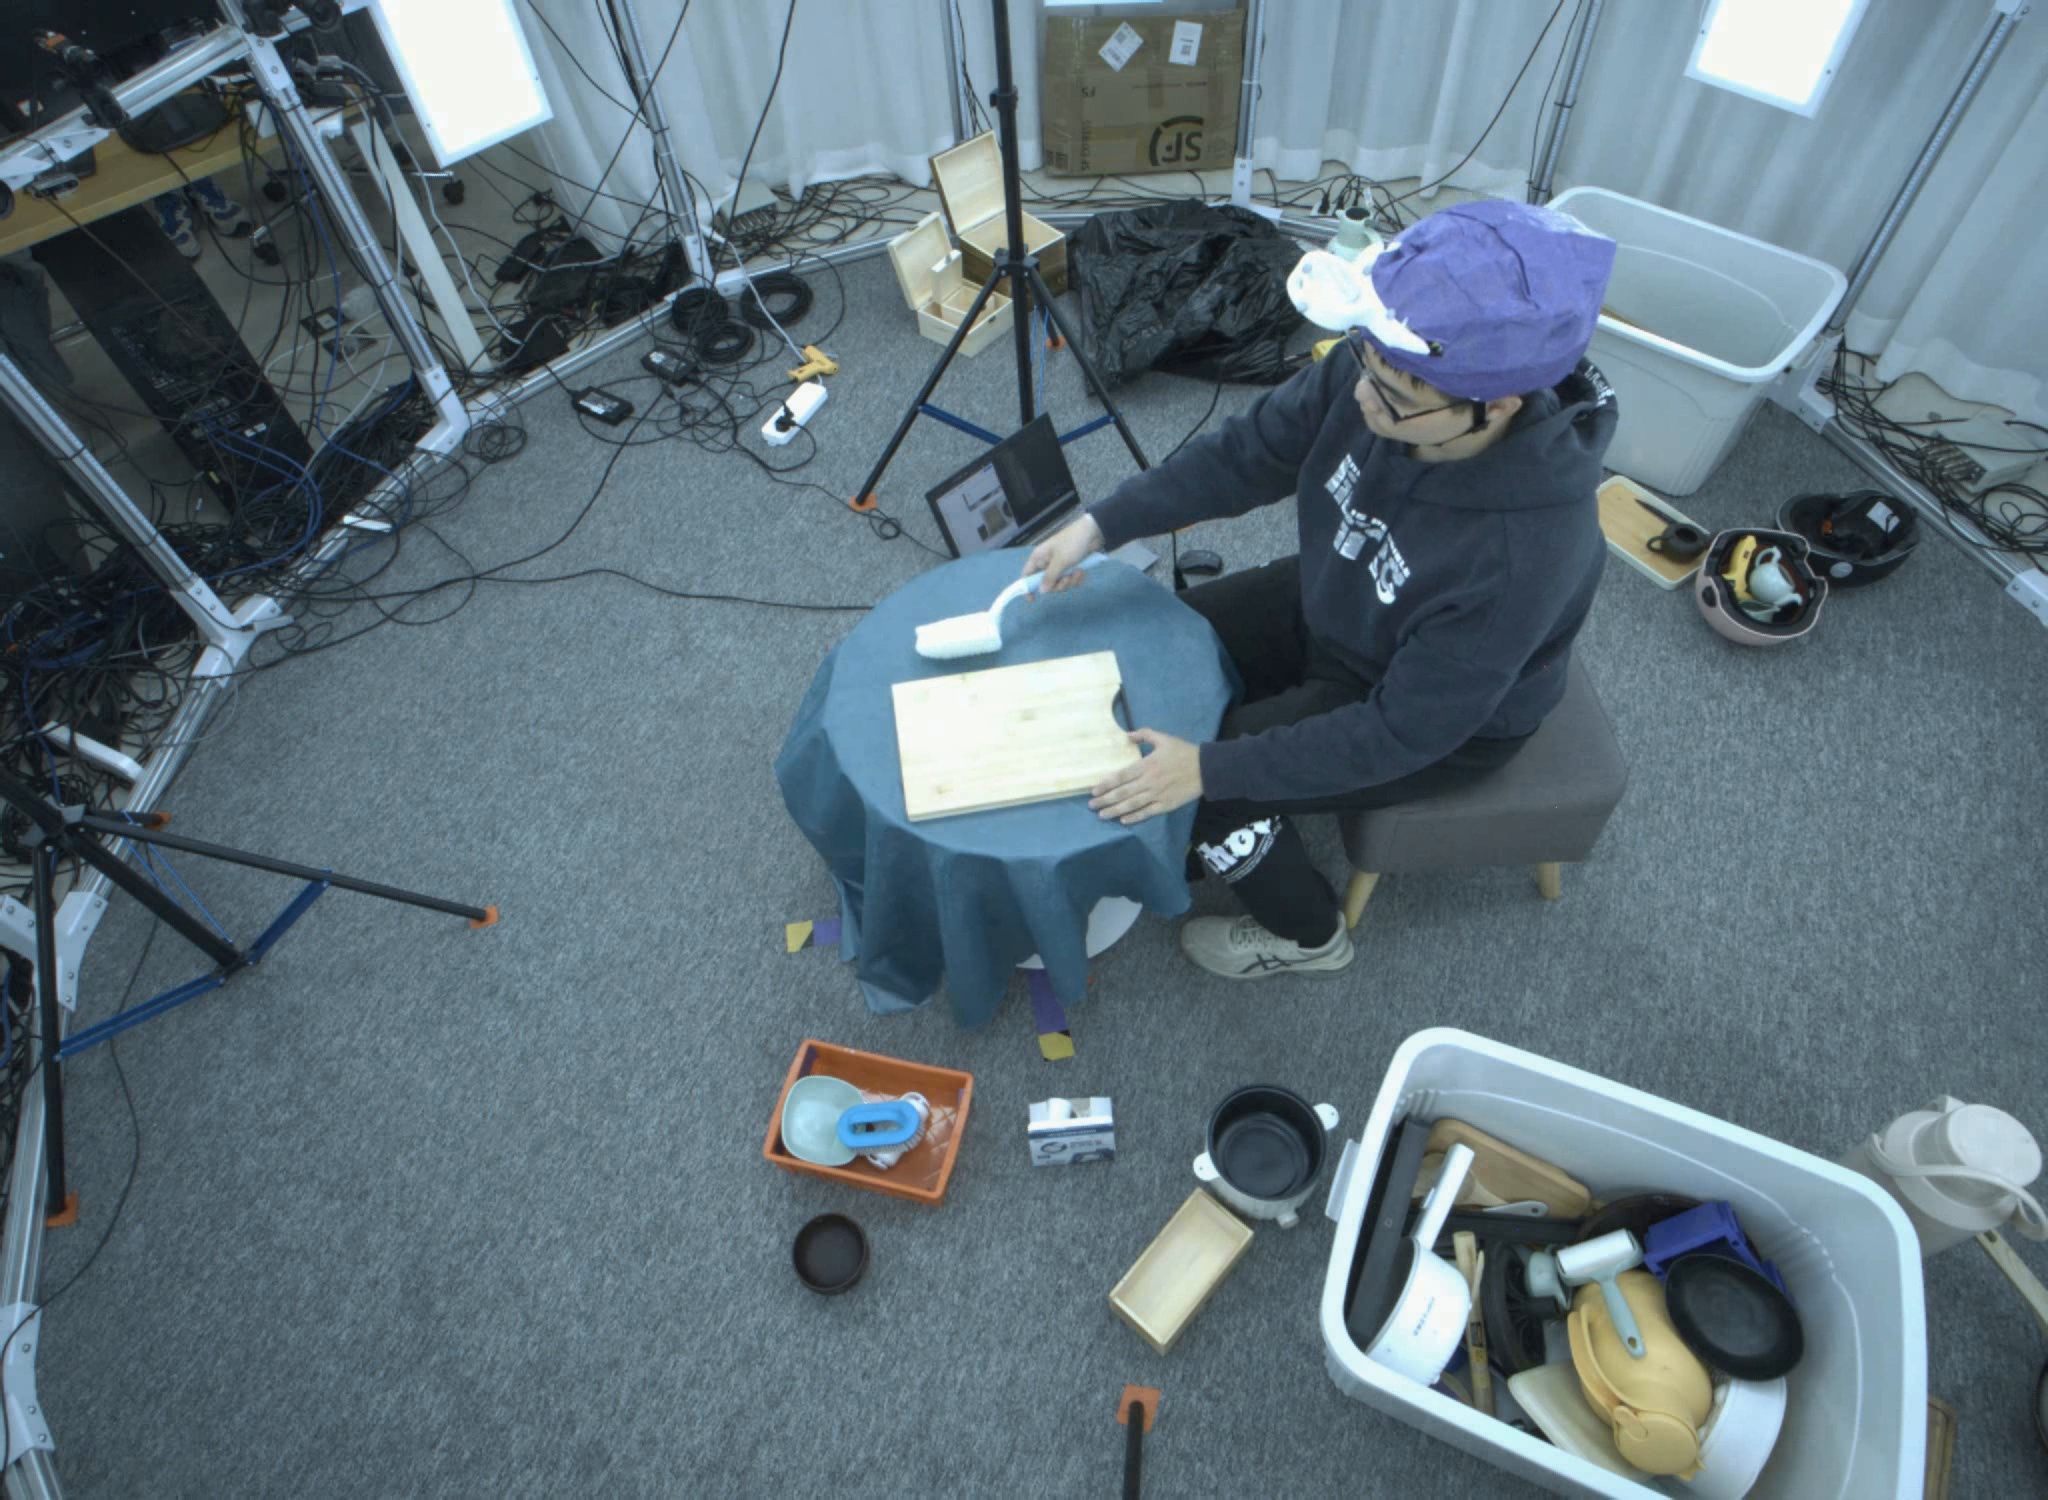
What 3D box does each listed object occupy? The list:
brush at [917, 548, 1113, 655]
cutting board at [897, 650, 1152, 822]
[{"bbox_3d":[-0.009,-0.214,1.862,0.325,0.085,0.082,-21,13,2],"label":"brush"},{"bbox_3d":[-0.008,-0.026,1.797,0.350,0.024,0.247,-9,56,-5],"label":"cutting board"}]
